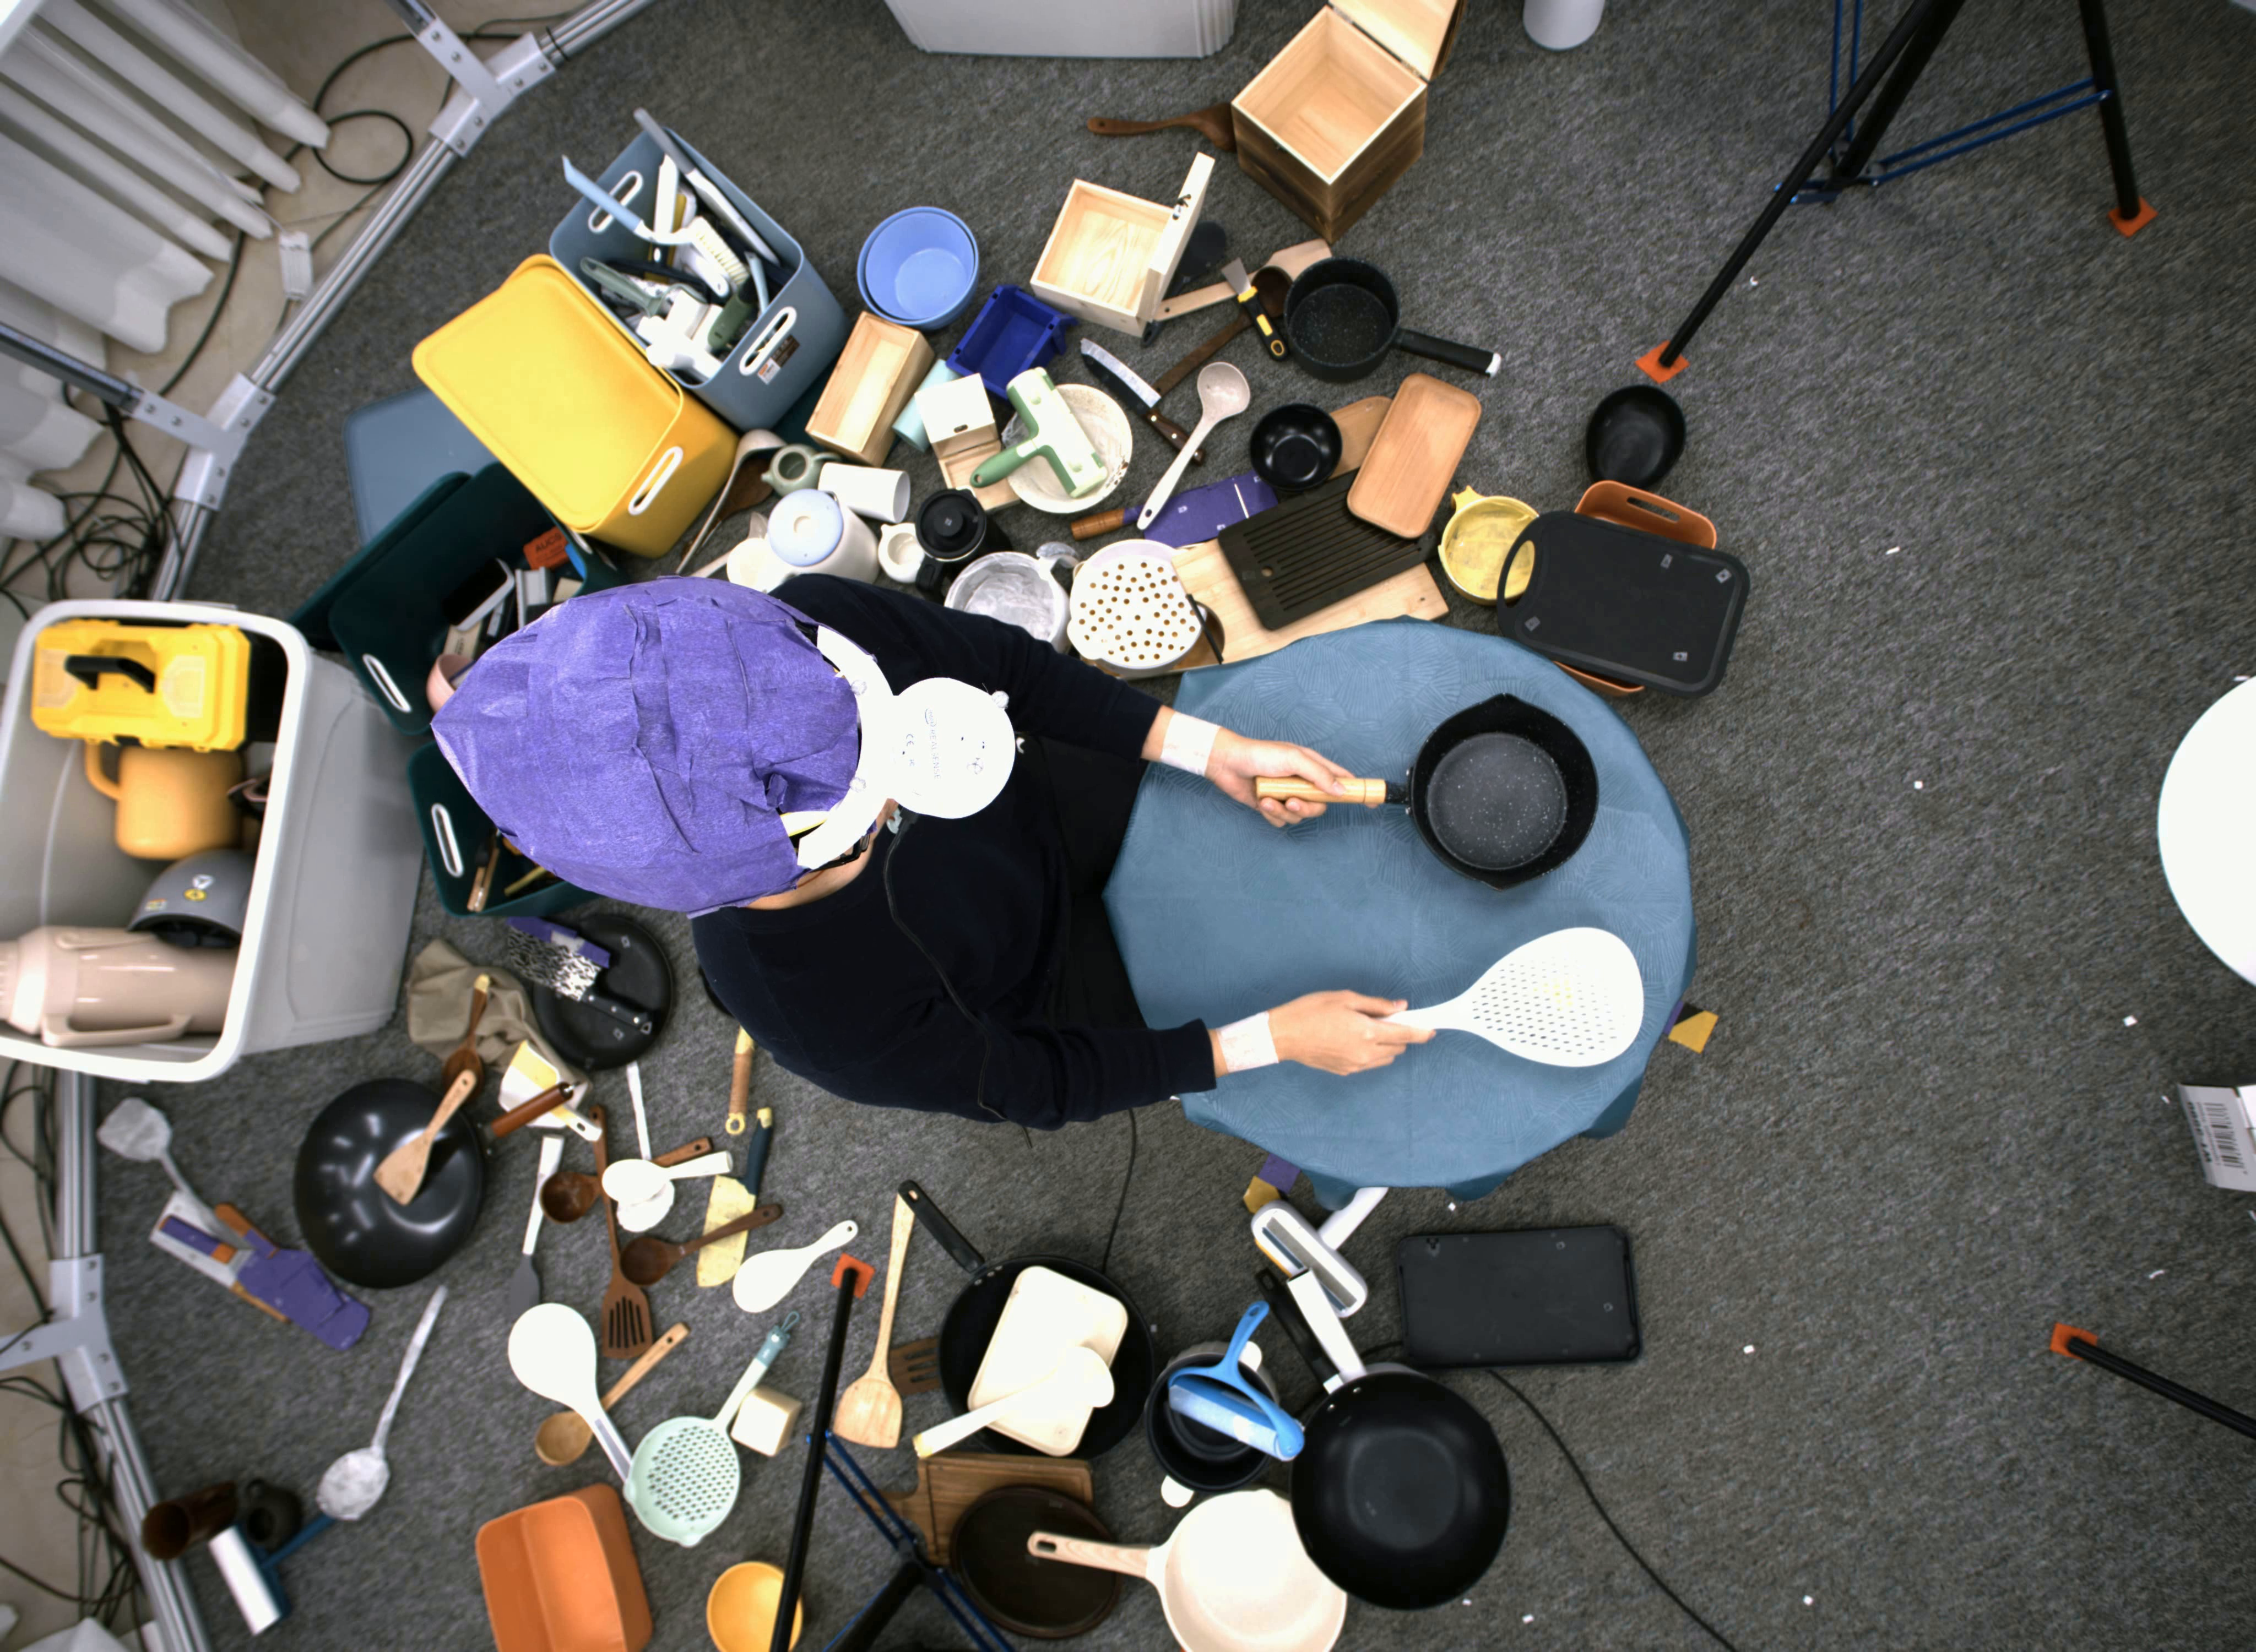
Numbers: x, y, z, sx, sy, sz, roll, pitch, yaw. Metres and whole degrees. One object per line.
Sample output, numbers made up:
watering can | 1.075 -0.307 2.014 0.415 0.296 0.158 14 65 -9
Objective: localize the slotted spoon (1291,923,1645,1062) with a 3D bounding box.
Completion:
slotted spoon | 0.334 0.182 1.370 0.349 0.050 0.137 -12 94 3

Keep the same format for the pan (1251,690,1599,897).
pan | 0.299 -0.032 1.405 0.344 0.108 0.207 0 87 9
